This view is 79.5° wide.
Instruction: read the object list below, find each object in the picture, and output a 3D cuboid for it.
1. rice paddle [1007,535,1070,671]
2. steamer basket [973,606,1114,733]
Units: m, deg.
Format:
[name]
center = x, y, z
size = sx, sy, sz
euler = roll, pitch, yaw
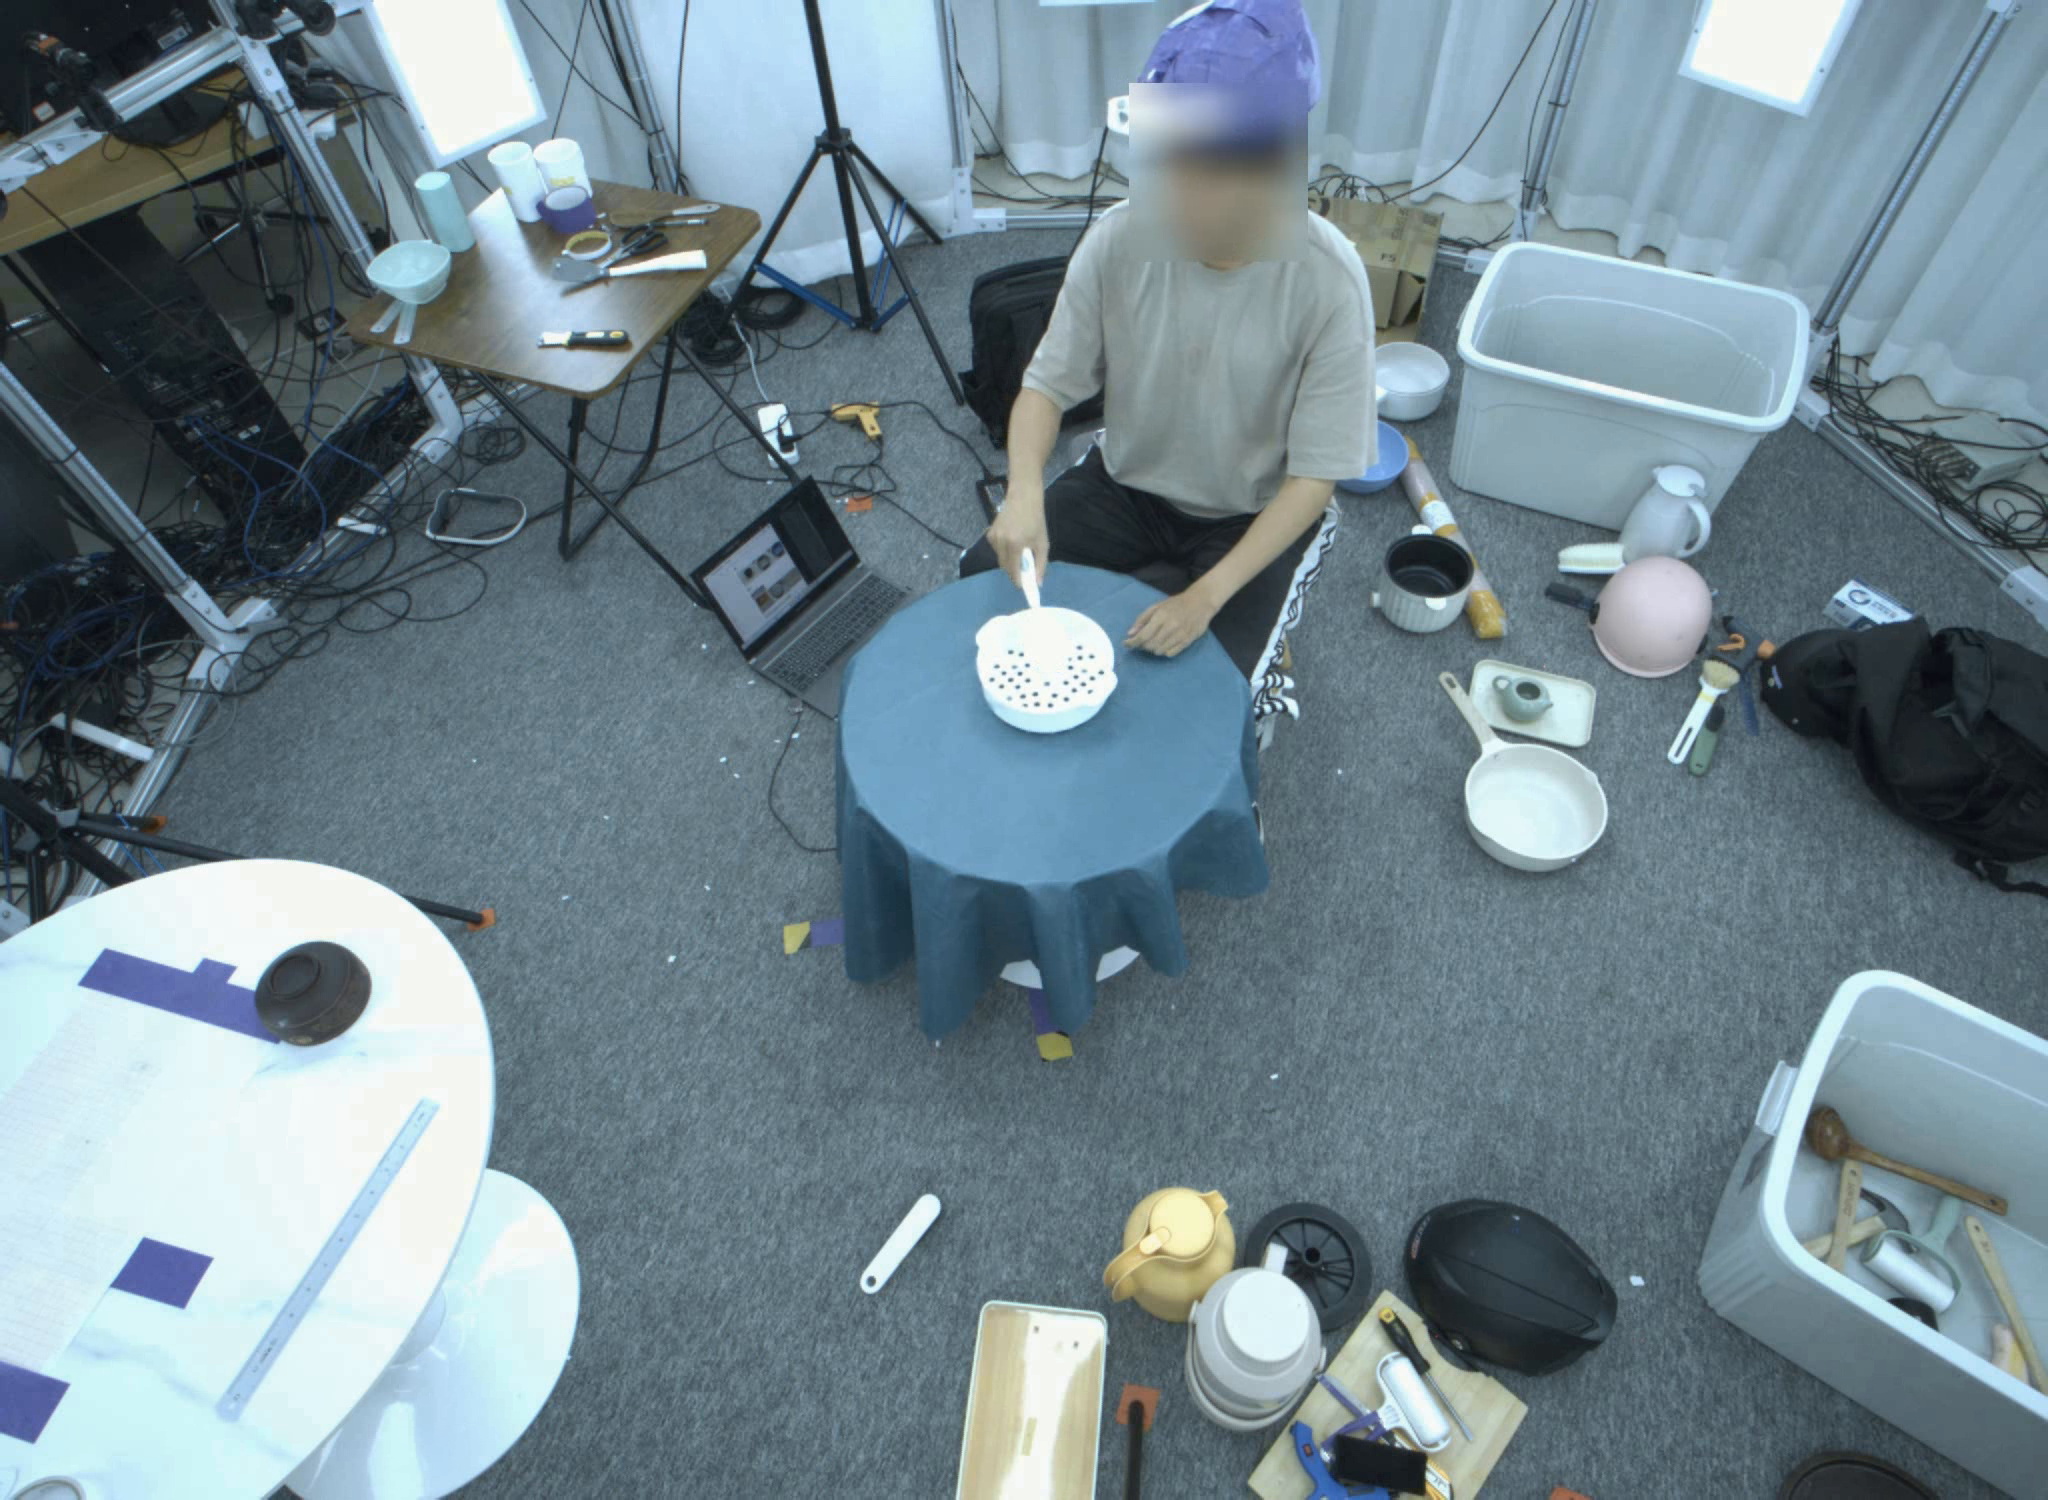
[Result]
[rice paddle]
center = 0.017, -0.218, 1.830
size = 0.069, 0.029, 0.205
euler = -15, 94, 1
[steamer basket]
center = 0.028, -0.118, 1.828
size = 0.227, 0.070, 0.203
euler = 32, 63, 20
